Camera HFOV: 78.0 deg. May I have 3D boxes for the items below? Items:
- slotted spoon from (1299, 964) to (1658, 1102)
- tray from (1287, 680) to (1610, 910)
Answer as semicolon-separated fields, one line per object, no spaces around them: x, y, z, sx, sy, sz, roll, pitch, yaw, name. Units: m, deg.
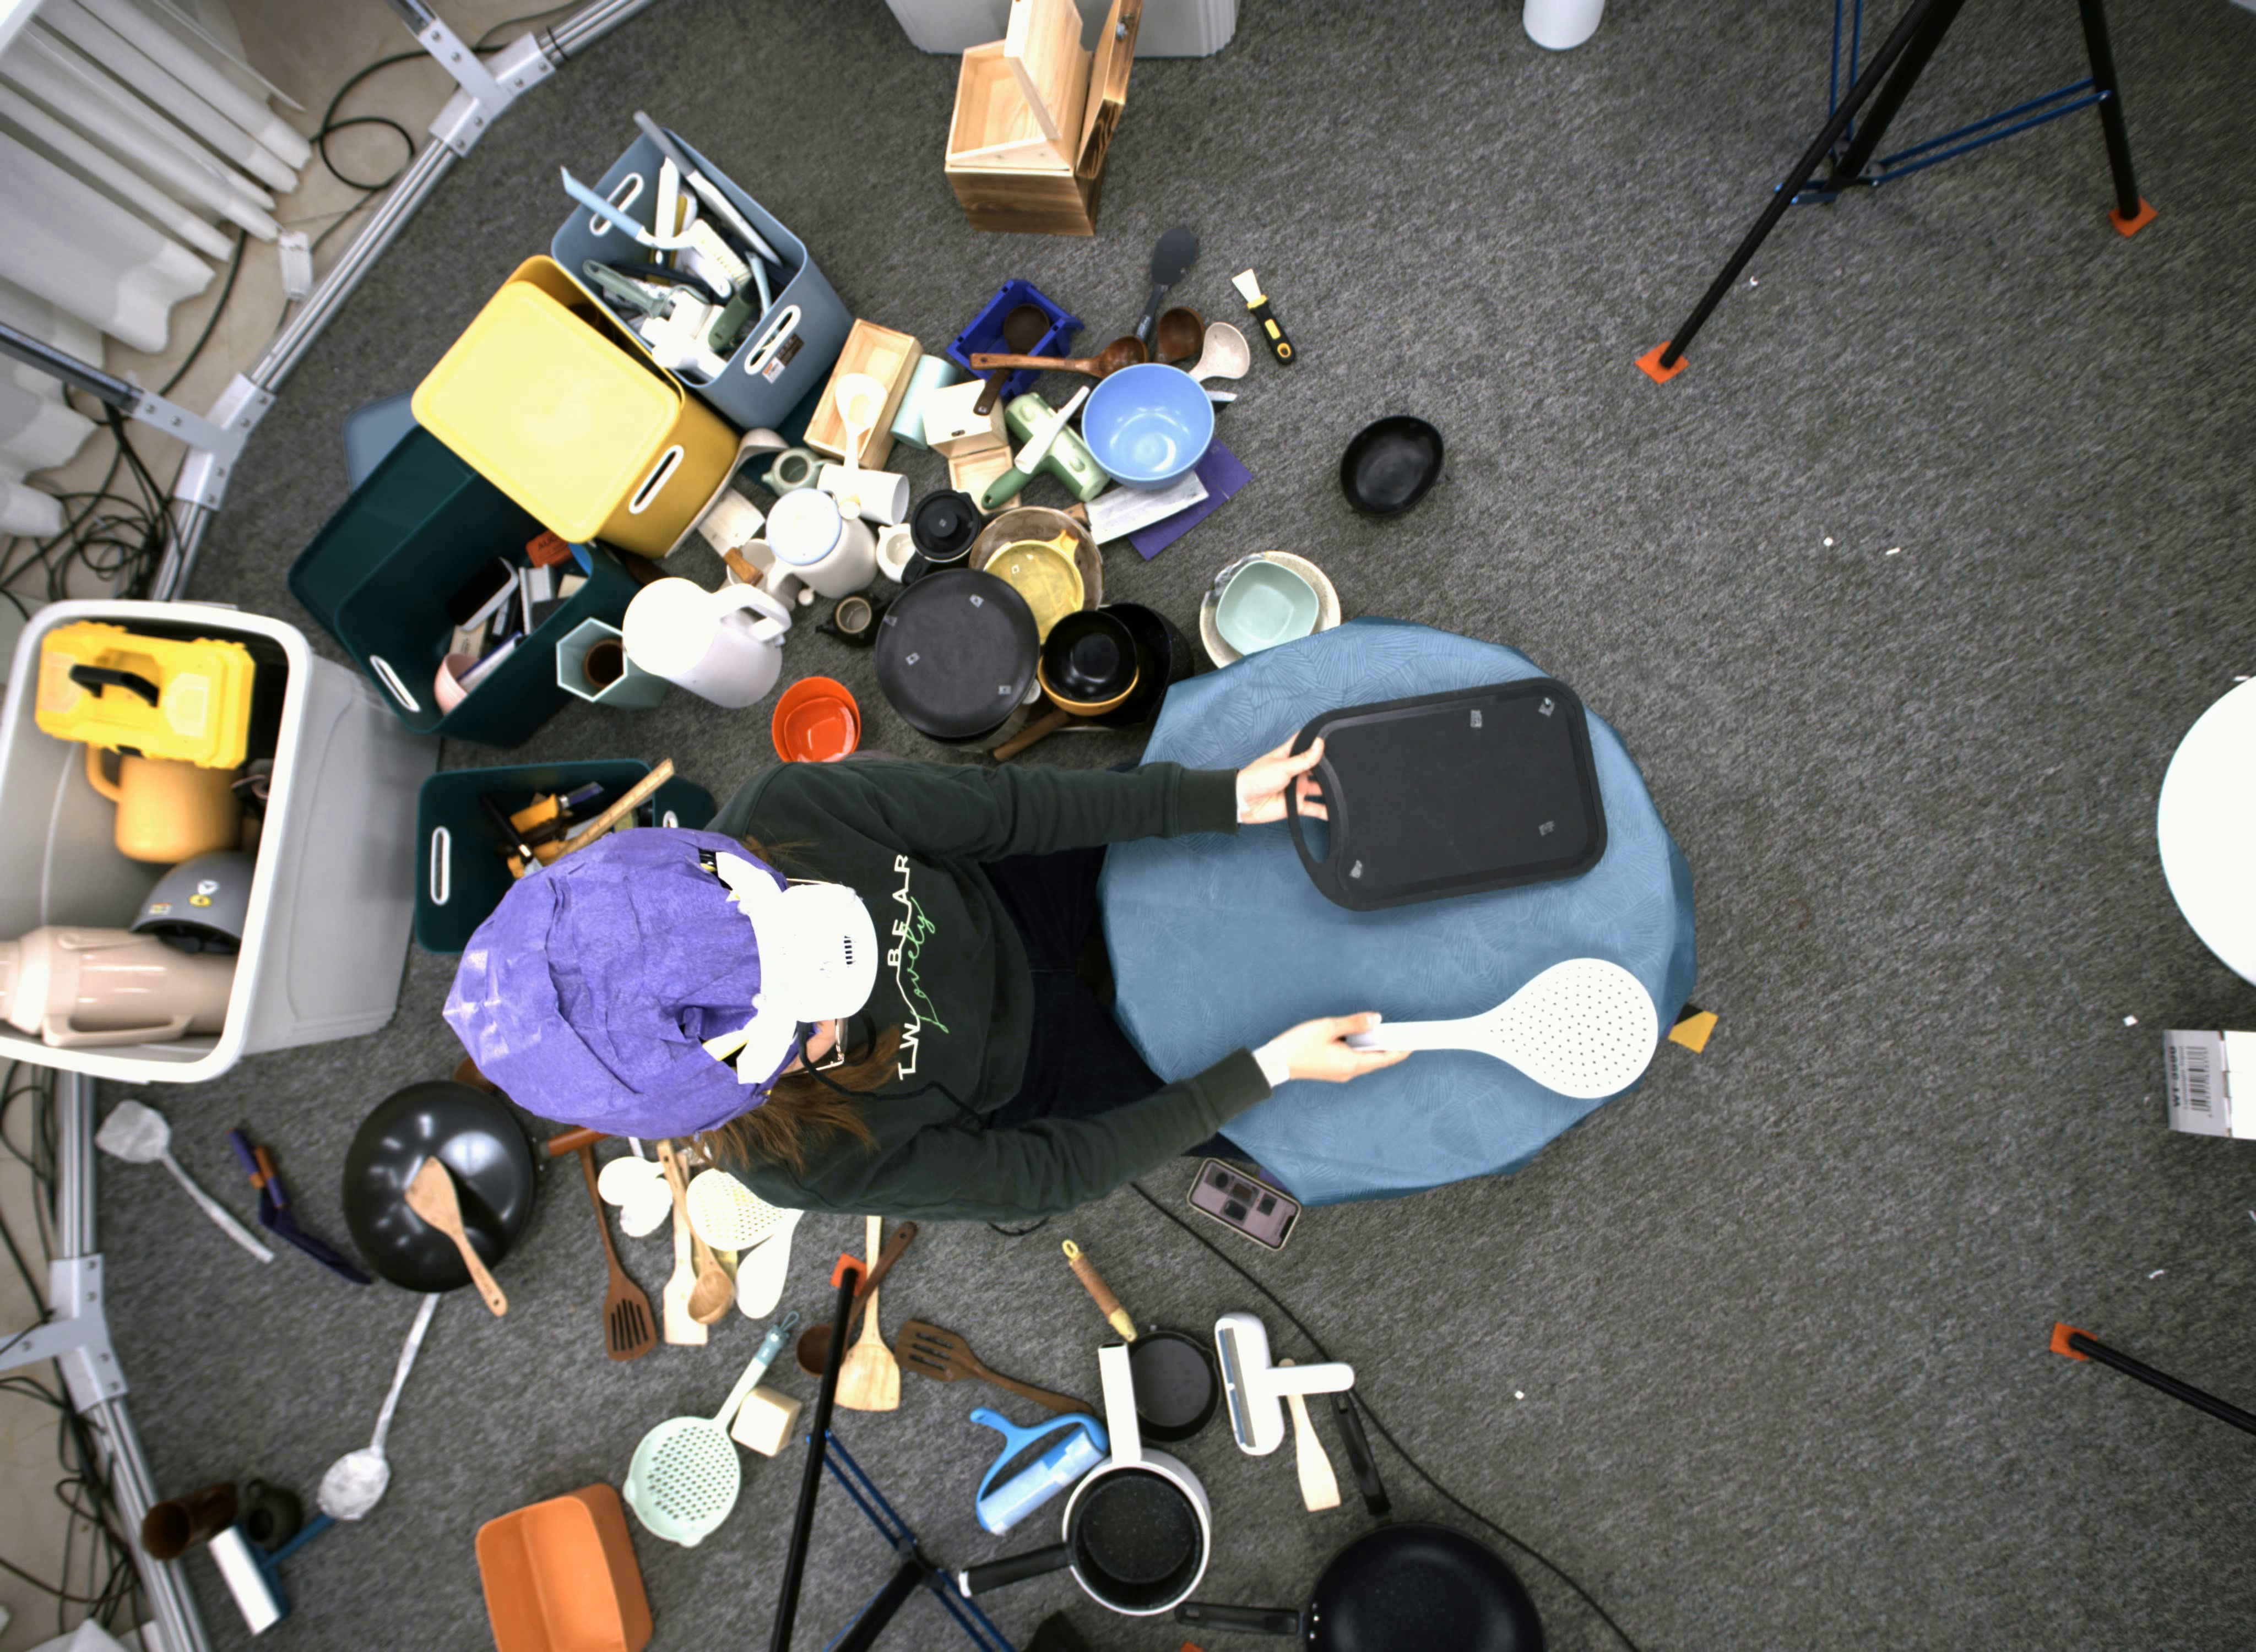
0.348;0.209;1.382;0.350;0.045;0.136;-4;90;4;slotted spoon
0.326;-0.033;1.408;0.326;0.010;0.210;-9;87;-1;tray
